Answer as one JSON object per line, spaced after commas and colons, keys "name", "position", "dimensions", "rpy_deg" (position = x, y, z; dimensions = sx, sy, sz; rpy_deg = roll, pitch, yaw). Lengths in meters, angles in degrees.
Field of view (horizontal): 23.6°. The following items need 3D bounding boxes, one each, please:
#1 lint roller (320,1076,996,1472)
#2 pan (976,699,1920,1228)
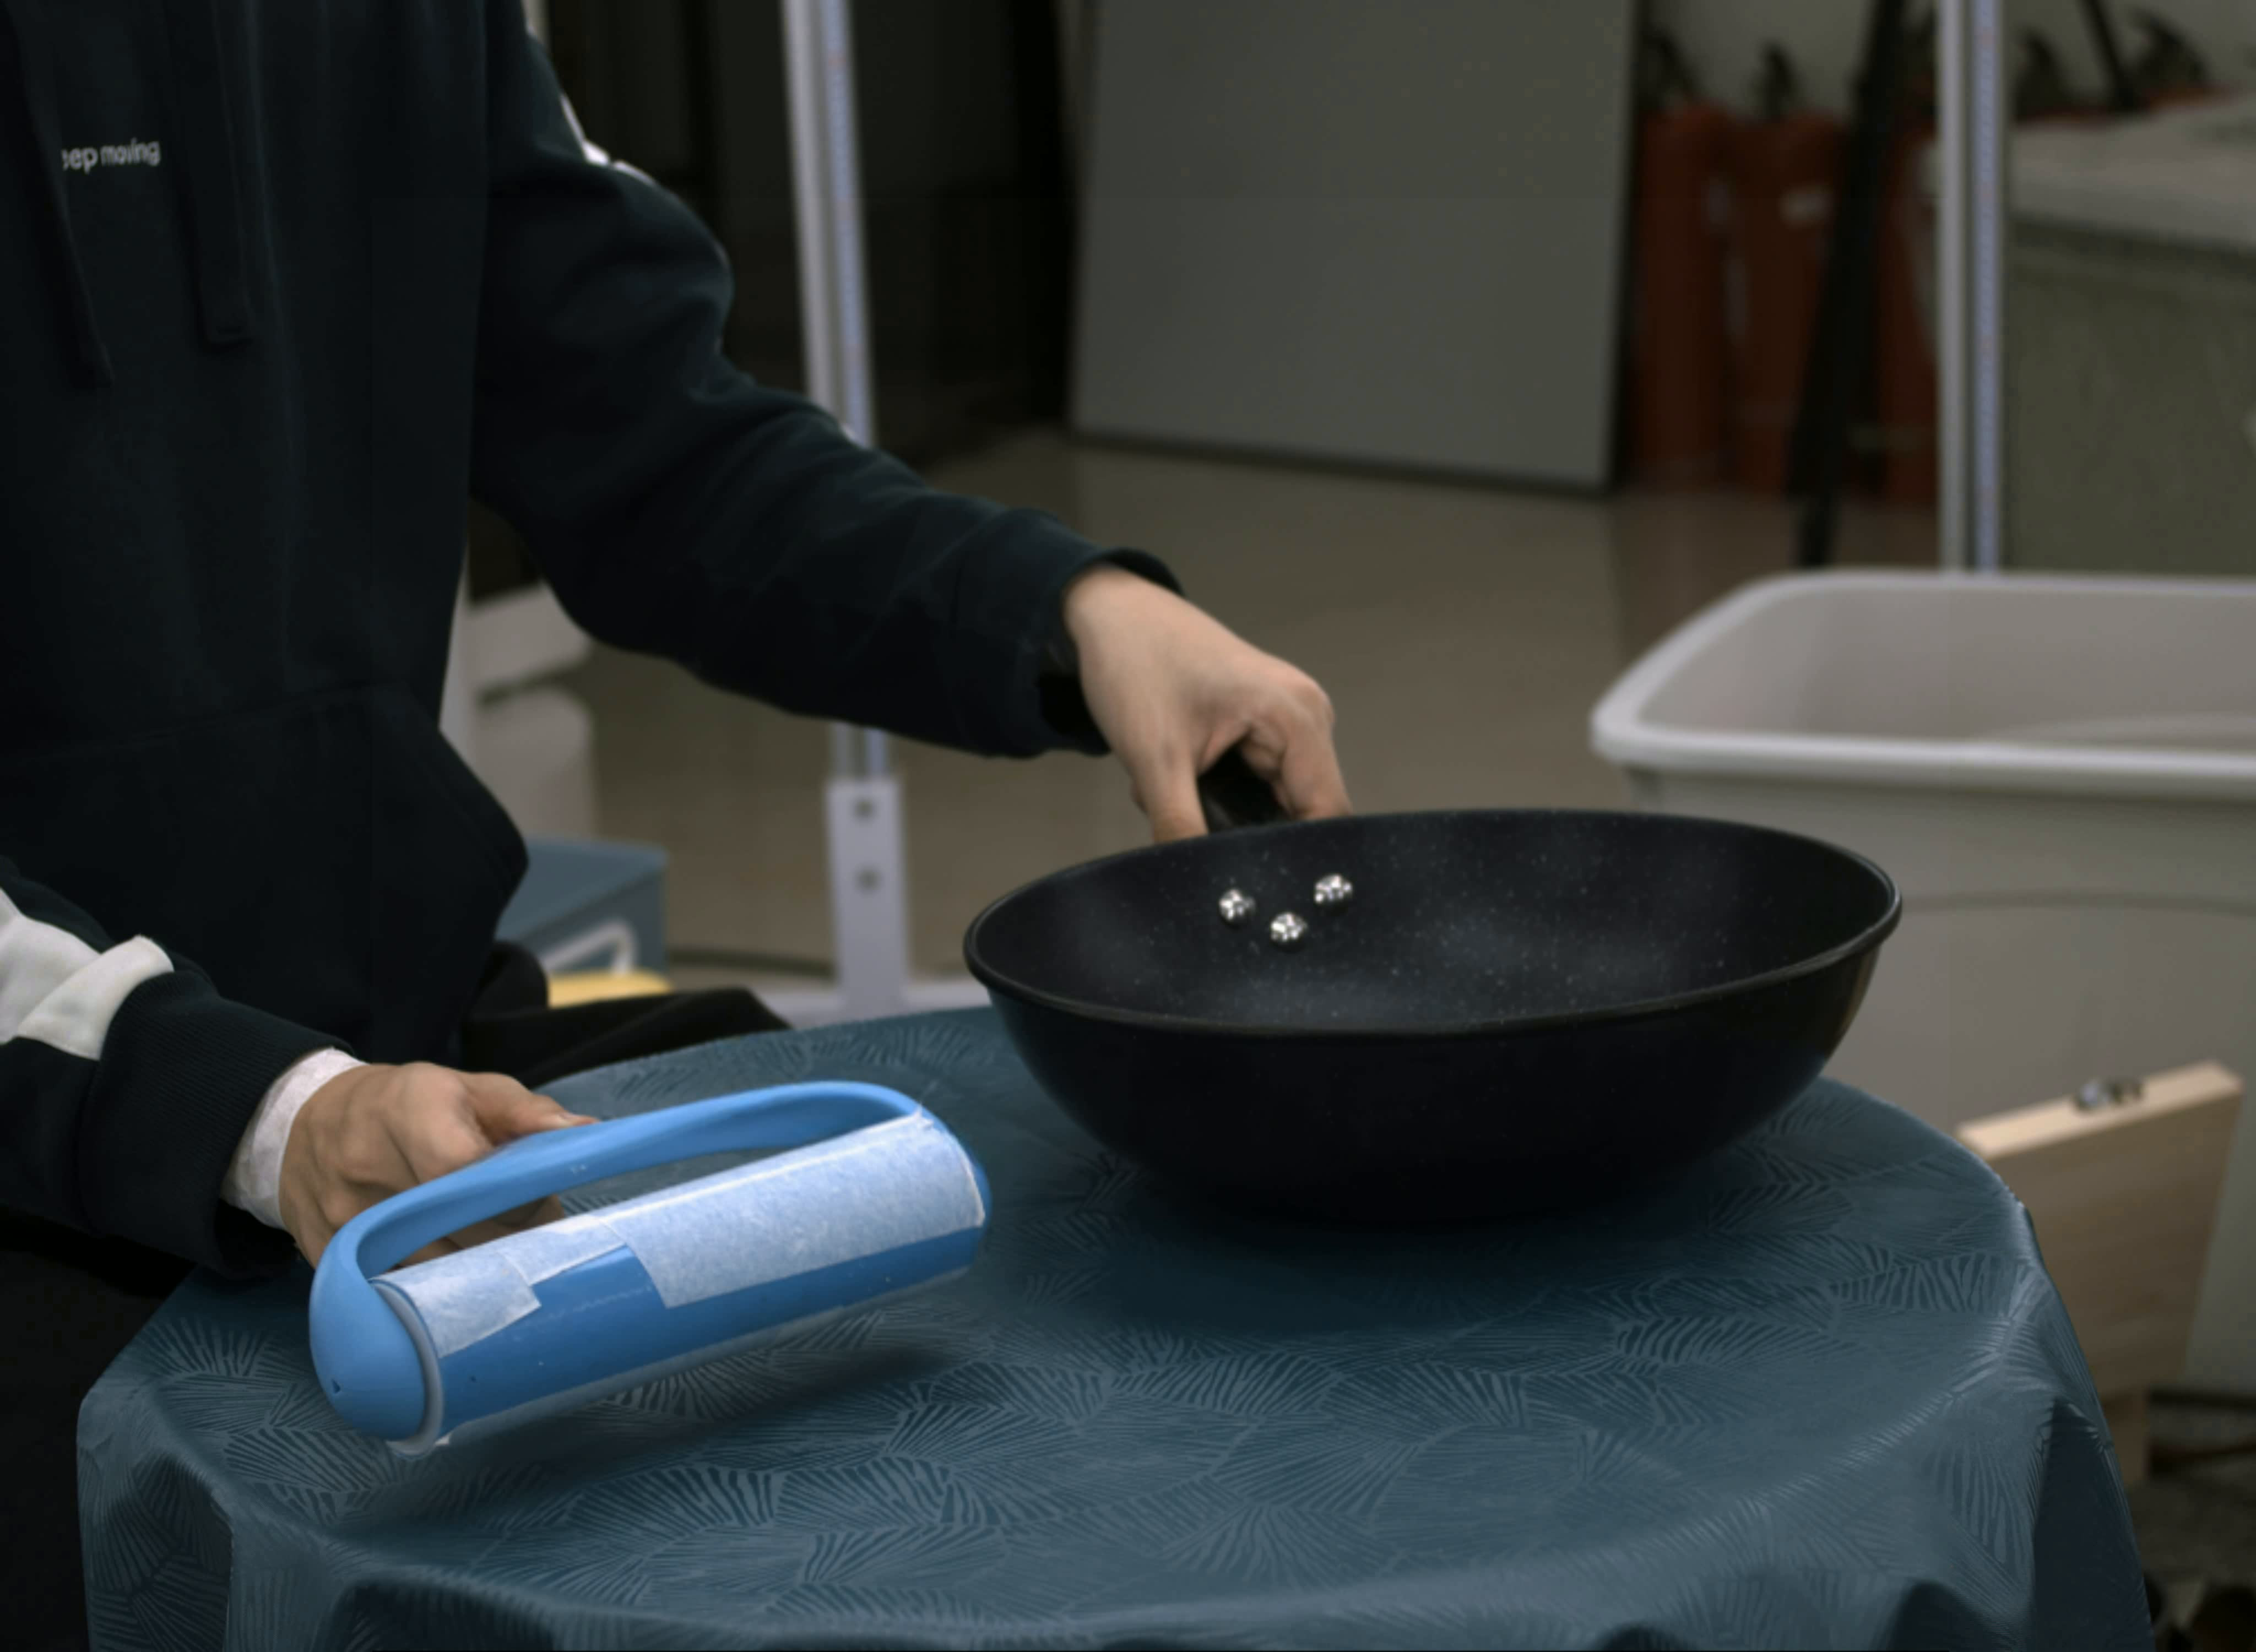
{"name": "lint roller", "position": [-0.170, 0.124, 1.616], "dimensions": [0.224, 0.068, 0.182], "rpy_deg": [-20, 20, -38]}
{"name": "pan", "position": [0.077, 0.045, 1.836], "dimensions": [0.304, 0.113, 0.481], "rpy_deg": [-6, 11, -18]}
